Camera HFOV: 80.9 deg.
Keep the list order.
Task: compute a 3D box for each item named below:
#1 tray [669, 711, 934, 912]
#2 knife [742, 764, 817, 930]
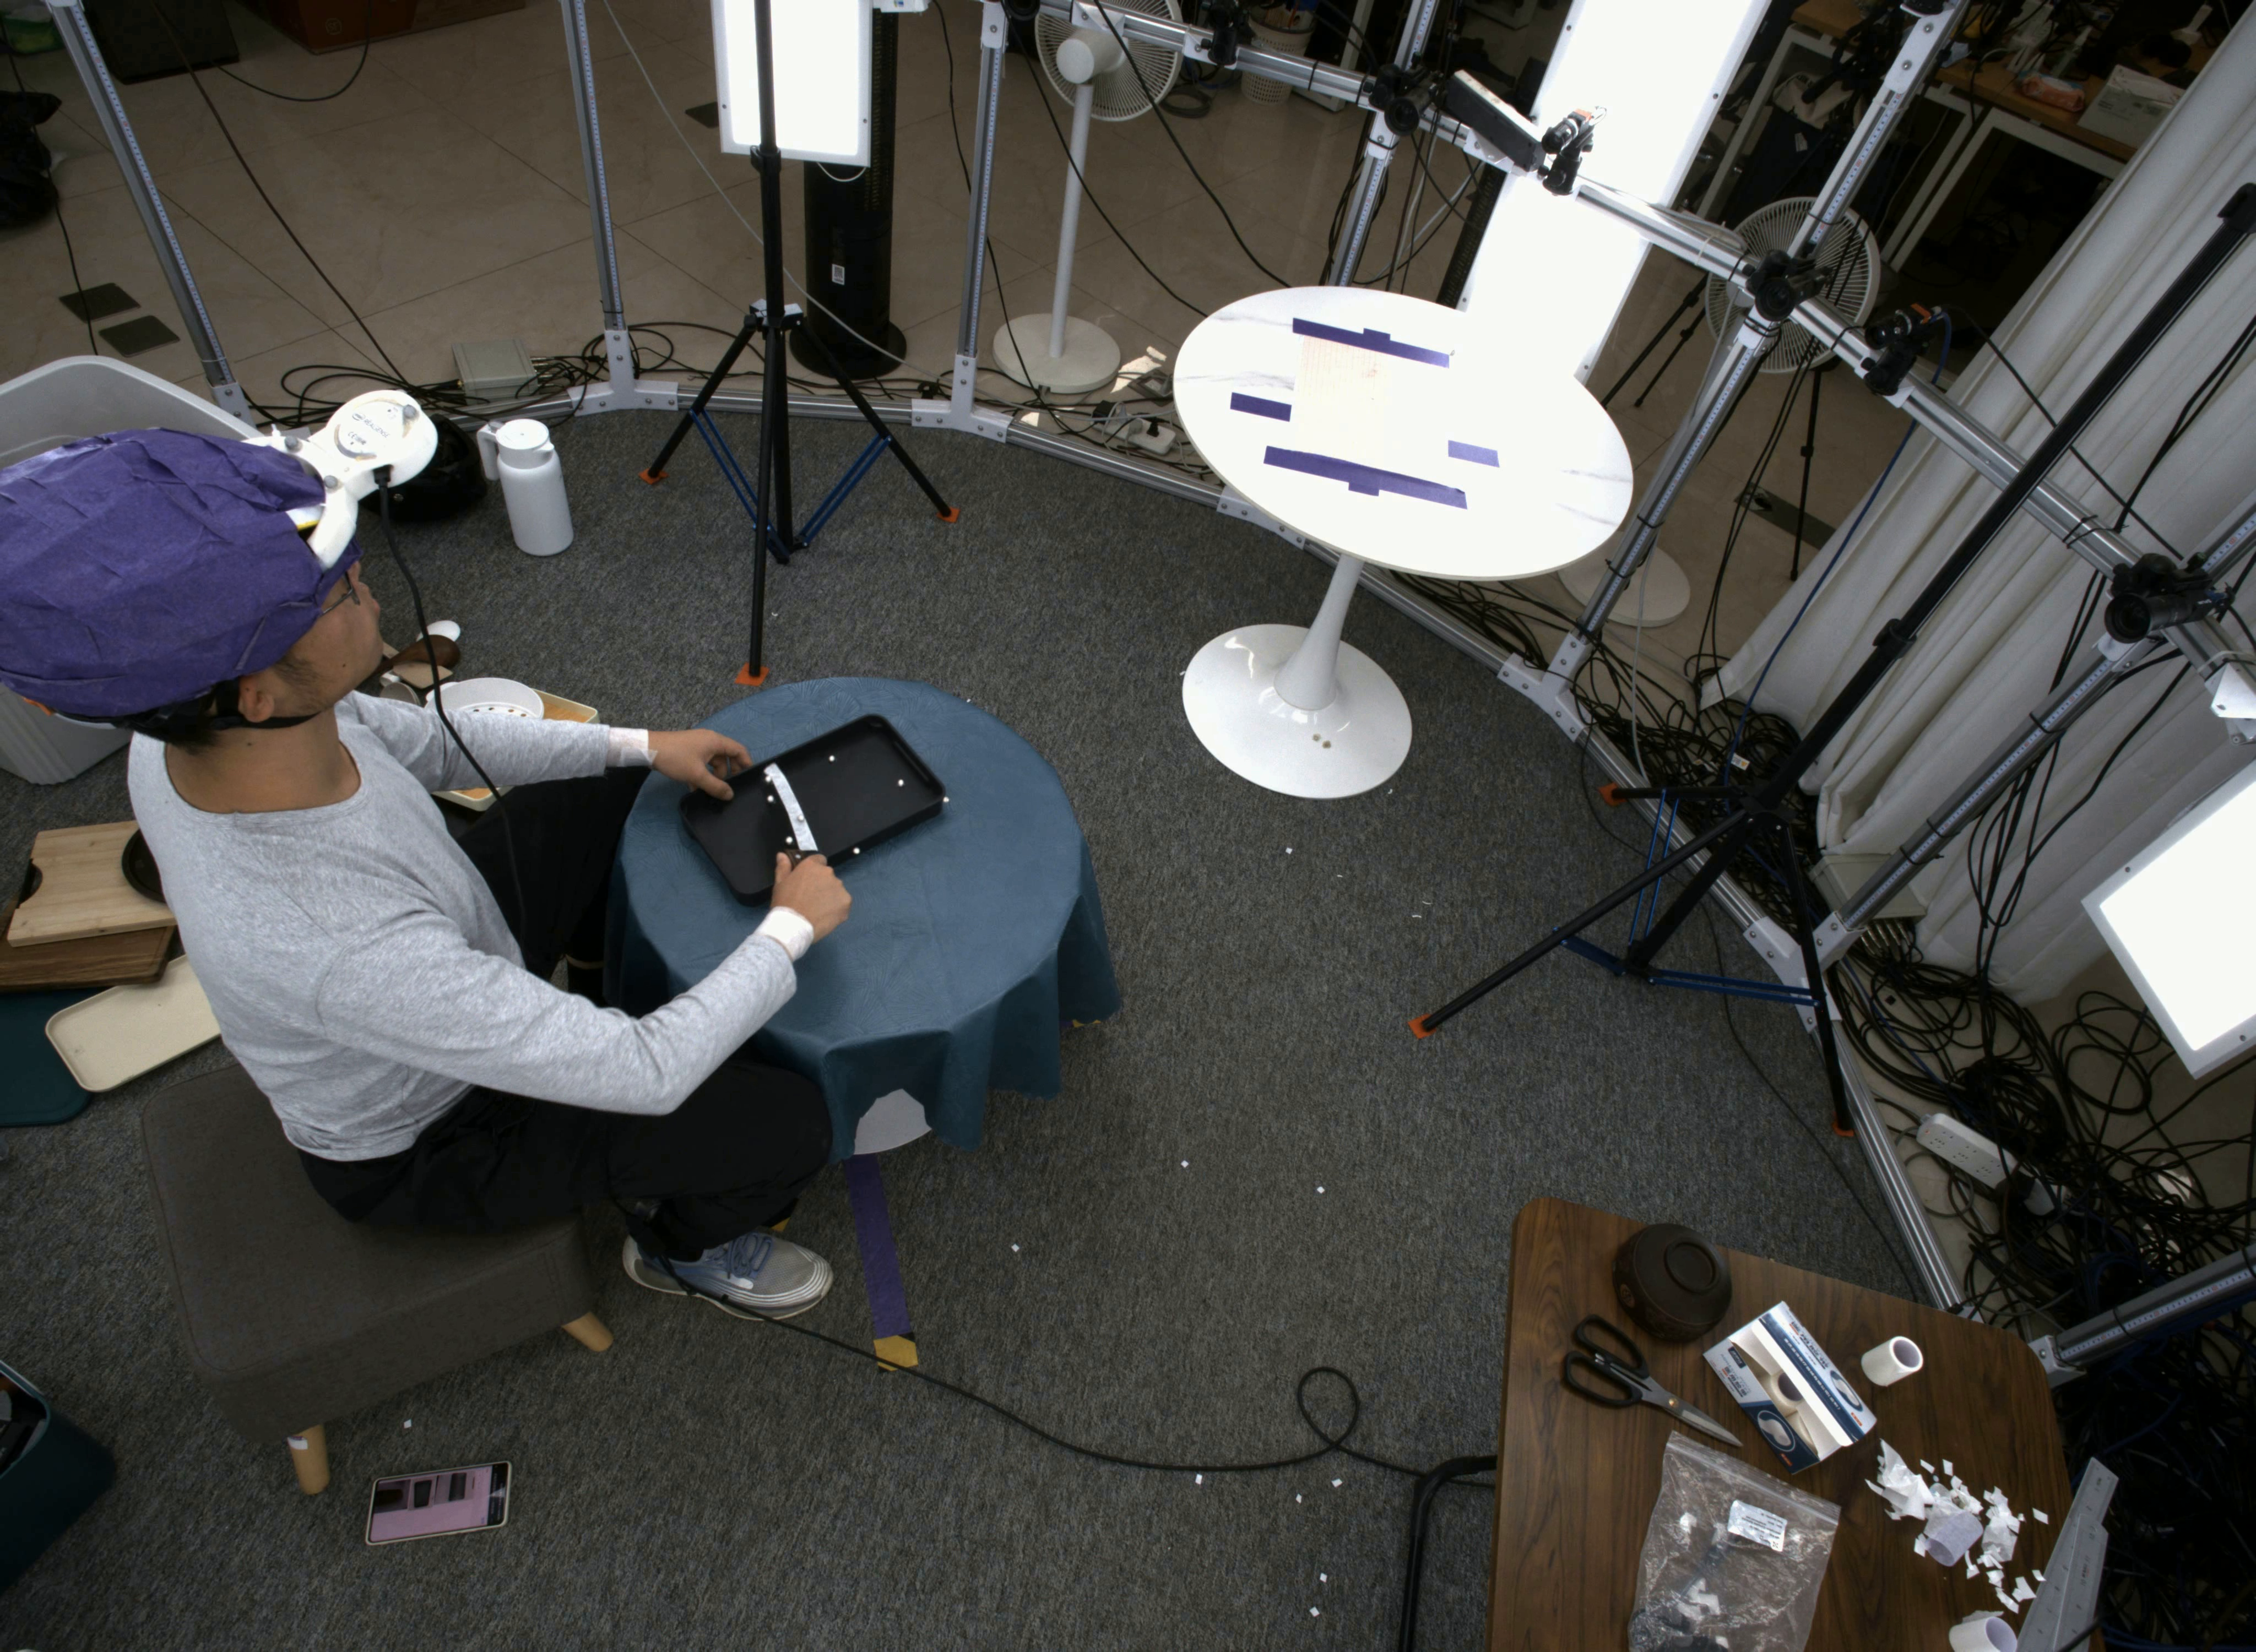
[{"bbox_3d":[-0.432,-0.026,1.730,0.319,0.038,0.180,-33,68,-31],"label":"tray"},{"bbox_3d":[-0.434,0.017,1.612,0.051,0.020,0.280,0,45,-34],"label":"knife"}]
